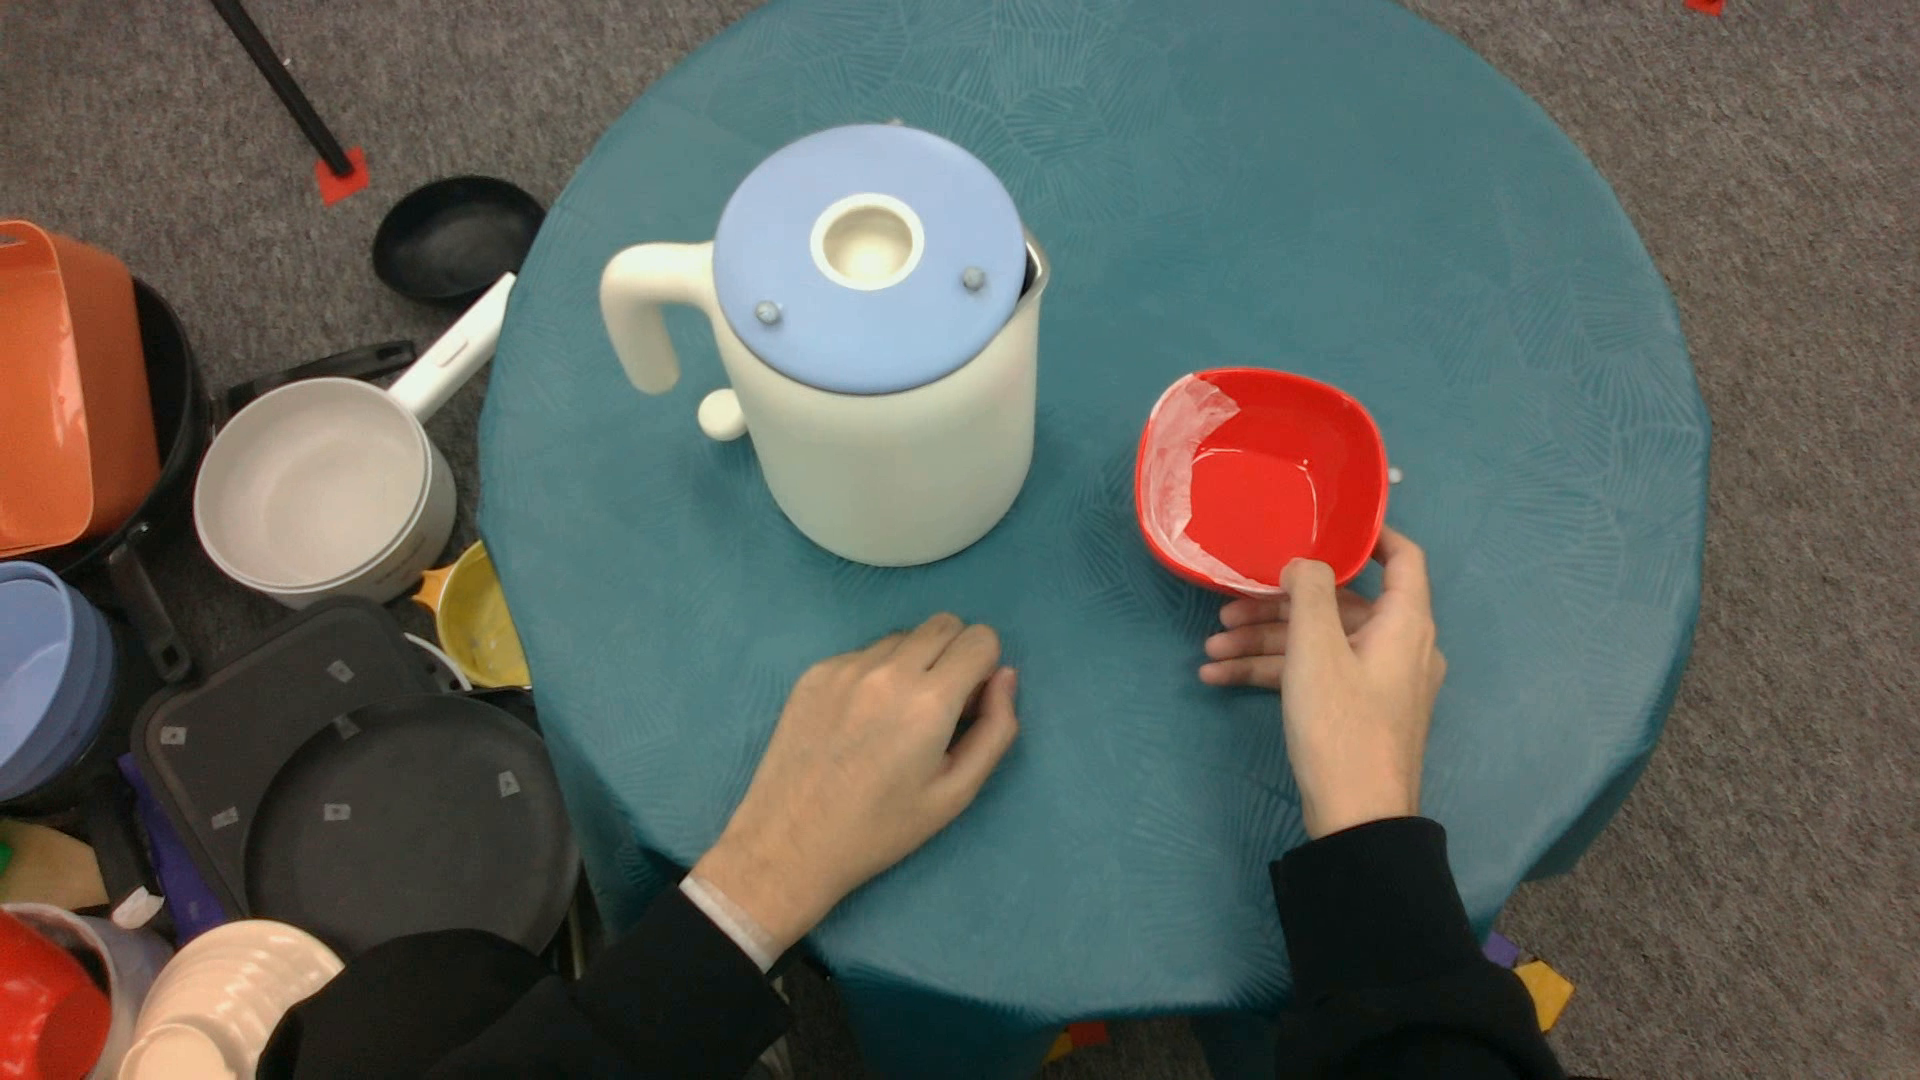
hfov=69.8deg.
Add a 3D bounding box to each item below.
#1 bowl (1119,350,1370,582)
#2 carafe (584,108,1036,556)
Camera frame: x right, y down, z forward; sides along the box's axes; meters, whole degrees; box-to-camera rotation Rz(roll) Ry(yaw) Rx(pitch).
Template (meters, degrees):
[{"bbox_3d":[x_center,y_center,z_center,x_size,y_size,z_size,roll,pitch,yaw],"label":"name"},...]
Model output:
[{"bbox_3d":[0.125,-0.026,0.630,0.119,0.051,0.119,1,65,-1],"label":"bowl"},{"bbox_3d":[-0.062,-0.084,0.593,0.191,0.182,0.132,3,67,4],"label":"carafe"}]
